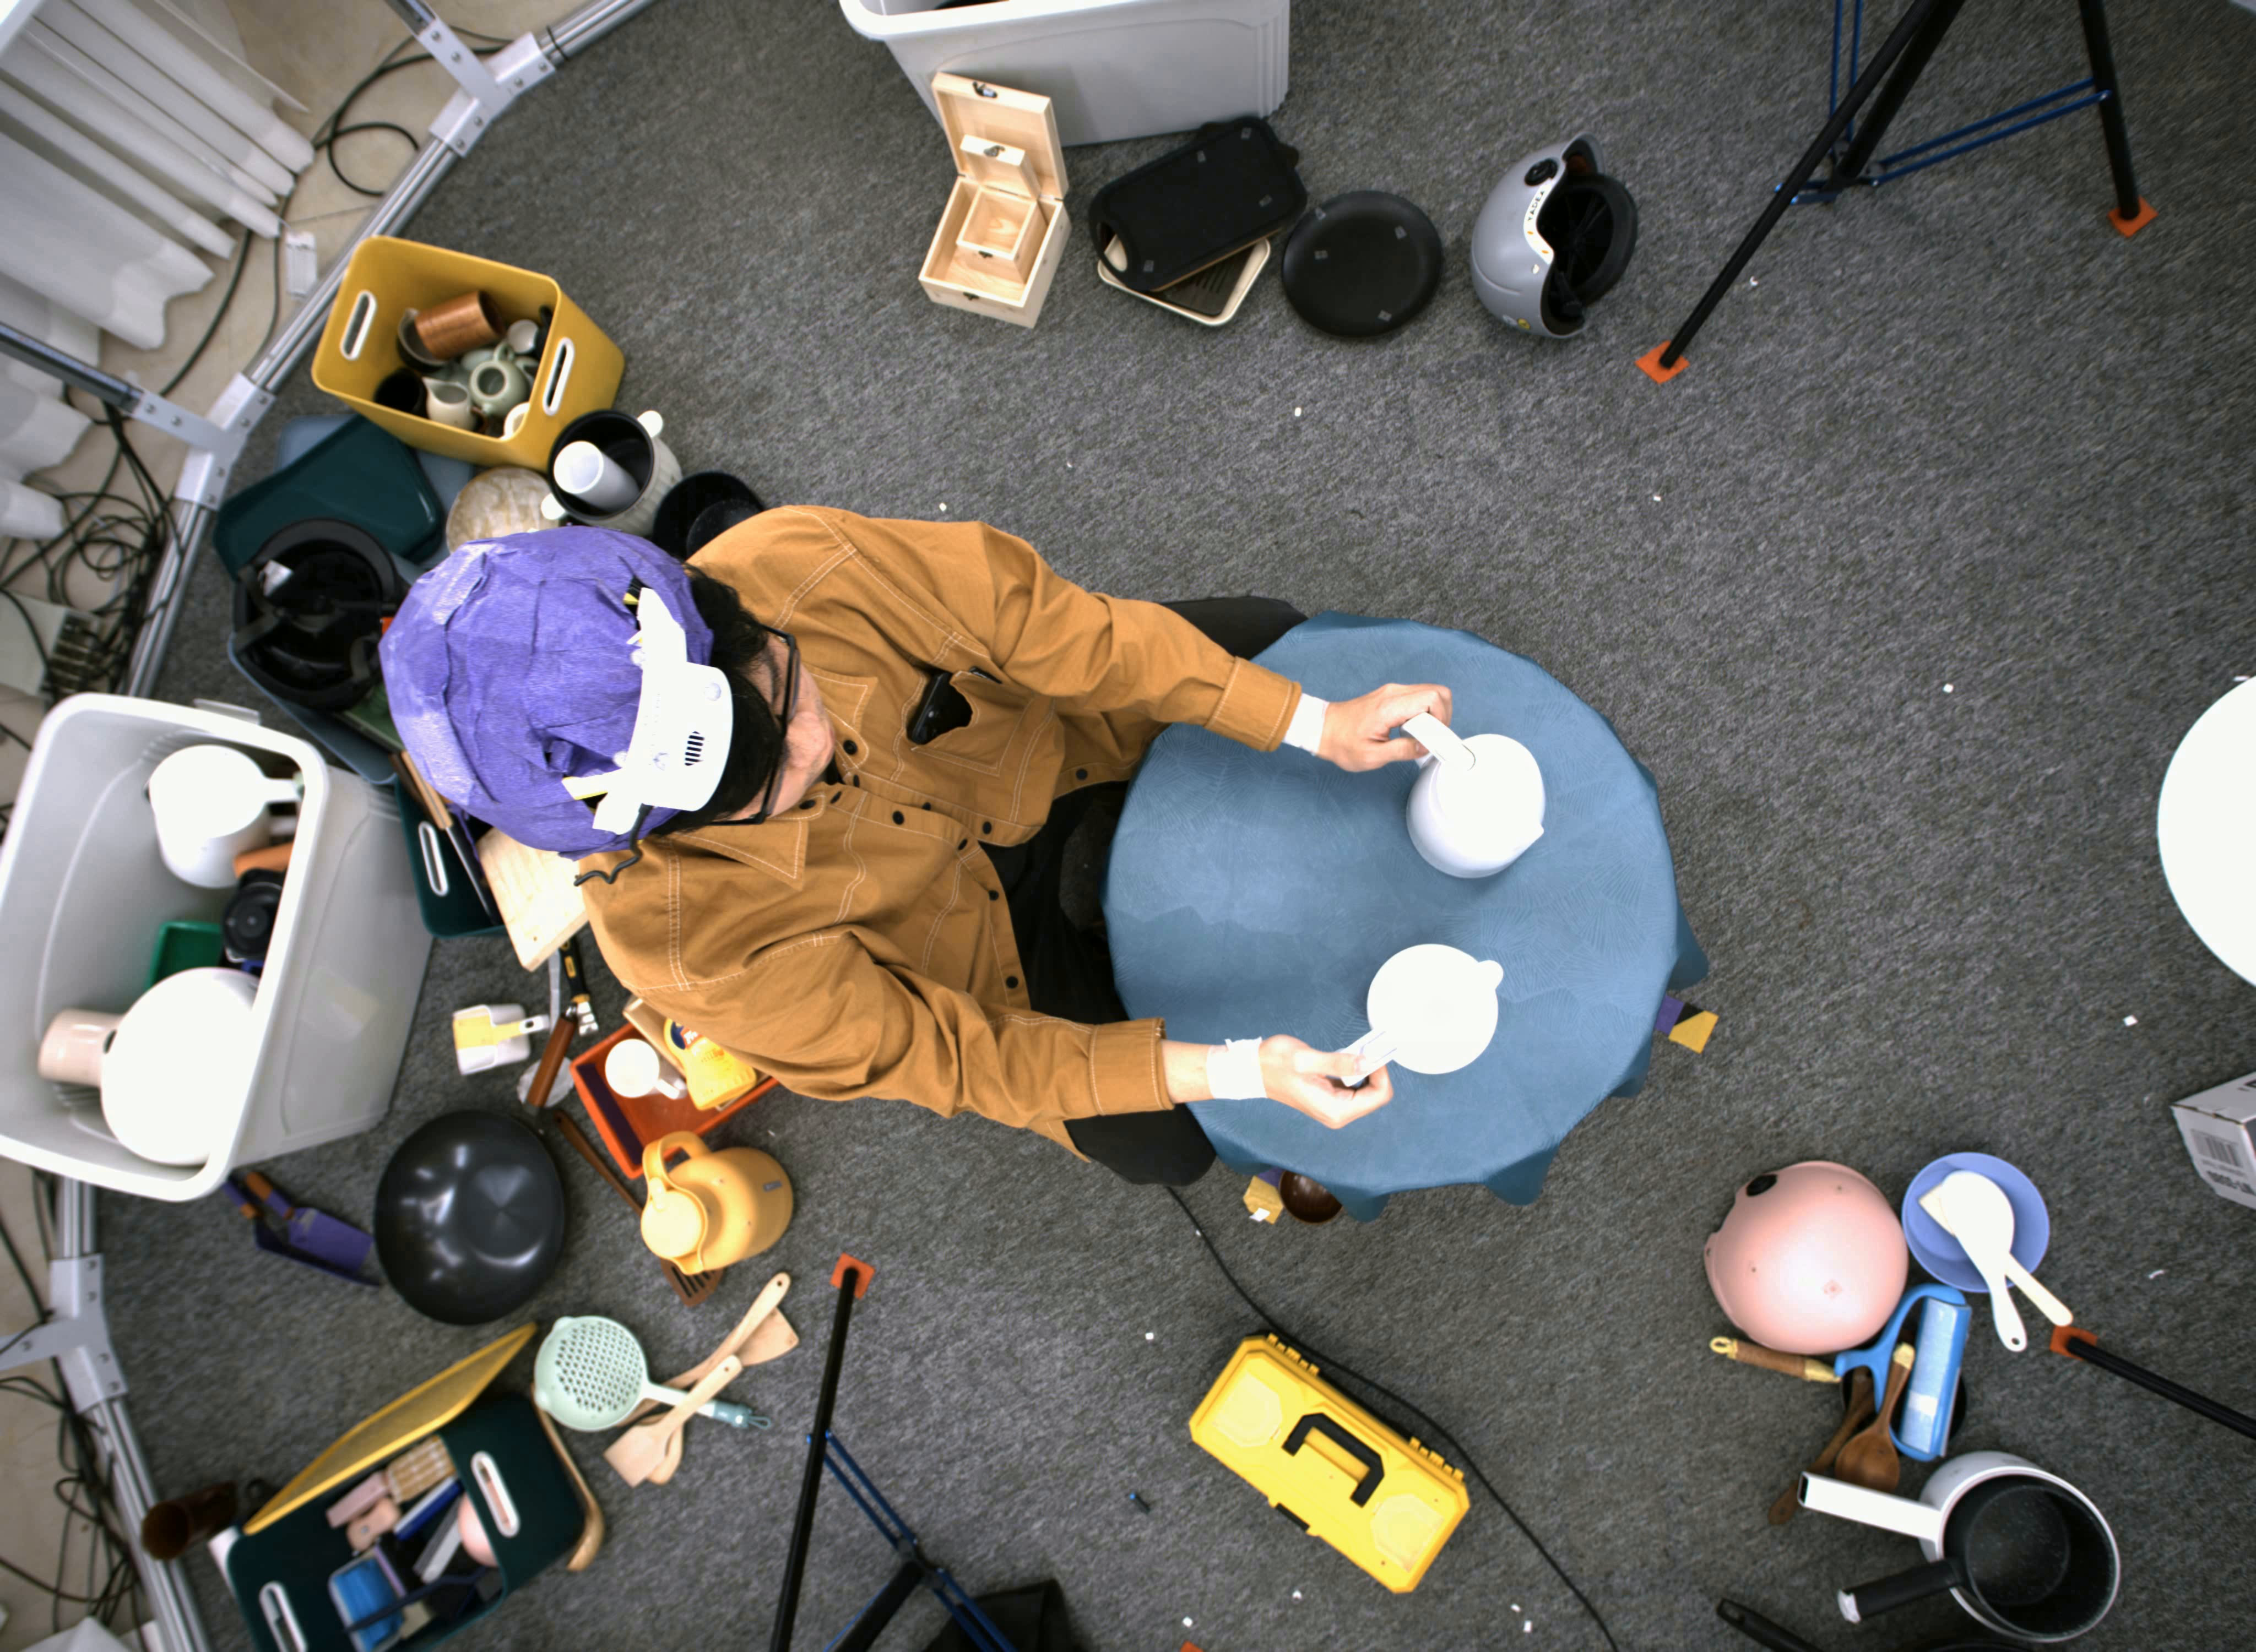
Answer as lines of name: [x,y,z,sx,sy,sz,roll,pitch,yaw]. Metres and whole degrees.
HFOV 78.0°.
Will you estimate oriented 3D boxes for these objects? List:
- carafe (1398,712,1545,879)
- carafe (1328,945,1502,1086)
carafe: [0.325,-0.038,1.330,0.133,0.249,0.167,-43,79,4]
carafe: [0.272,0.183,1.320,0.174,0.269,0.123,-35,82,6]
